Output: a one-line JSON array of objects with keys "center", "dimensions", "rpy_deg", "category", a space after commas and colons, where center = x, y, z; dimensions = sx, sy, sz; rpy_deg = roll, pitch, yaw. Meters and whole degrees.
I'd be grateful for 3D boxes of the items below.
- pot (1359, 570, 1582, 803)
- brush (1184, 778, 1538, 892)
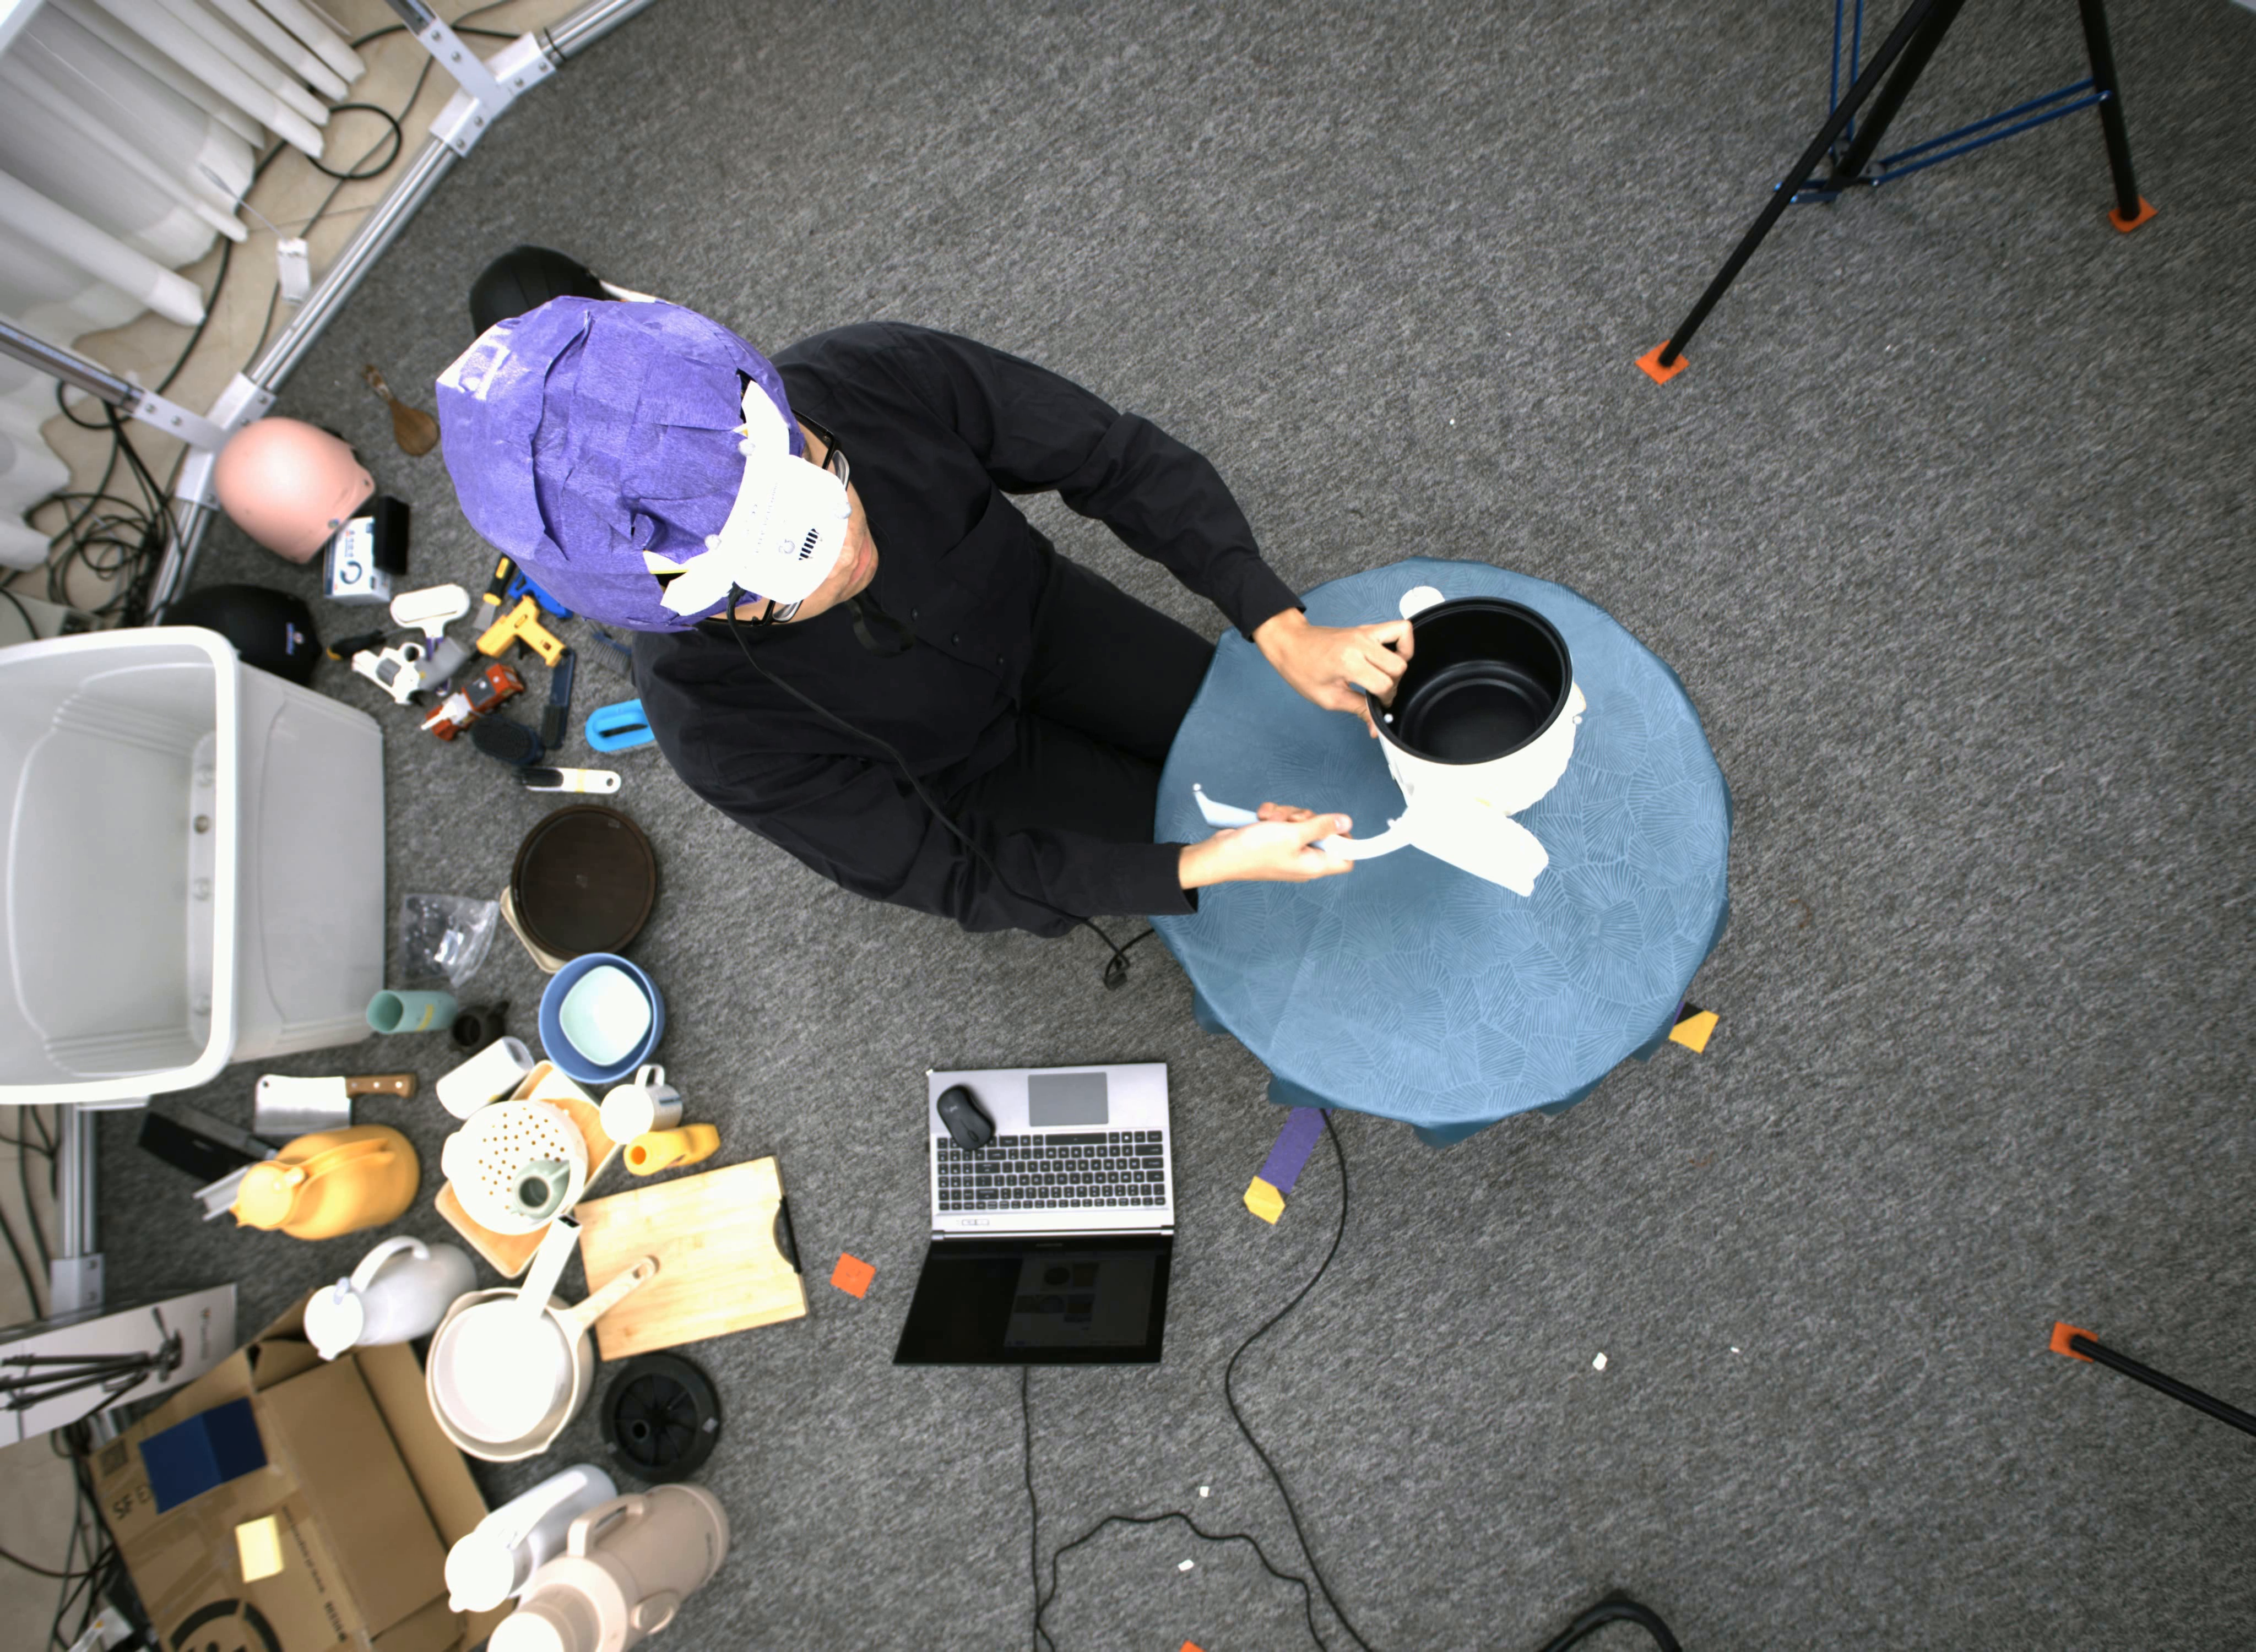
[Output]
[{"center": [0.324, -0.122, 1.269], "dimensions": [0.192, 0.144, 0.235], "rpy_deg": [-28, 57, 9], "category": "pot"}, {"center": [0.212, -0.018, 1.258], "dimensions": [0.326, 0.082, 0.085], "rpy_deg": [14, 127, 17], "category": "brush"}]
